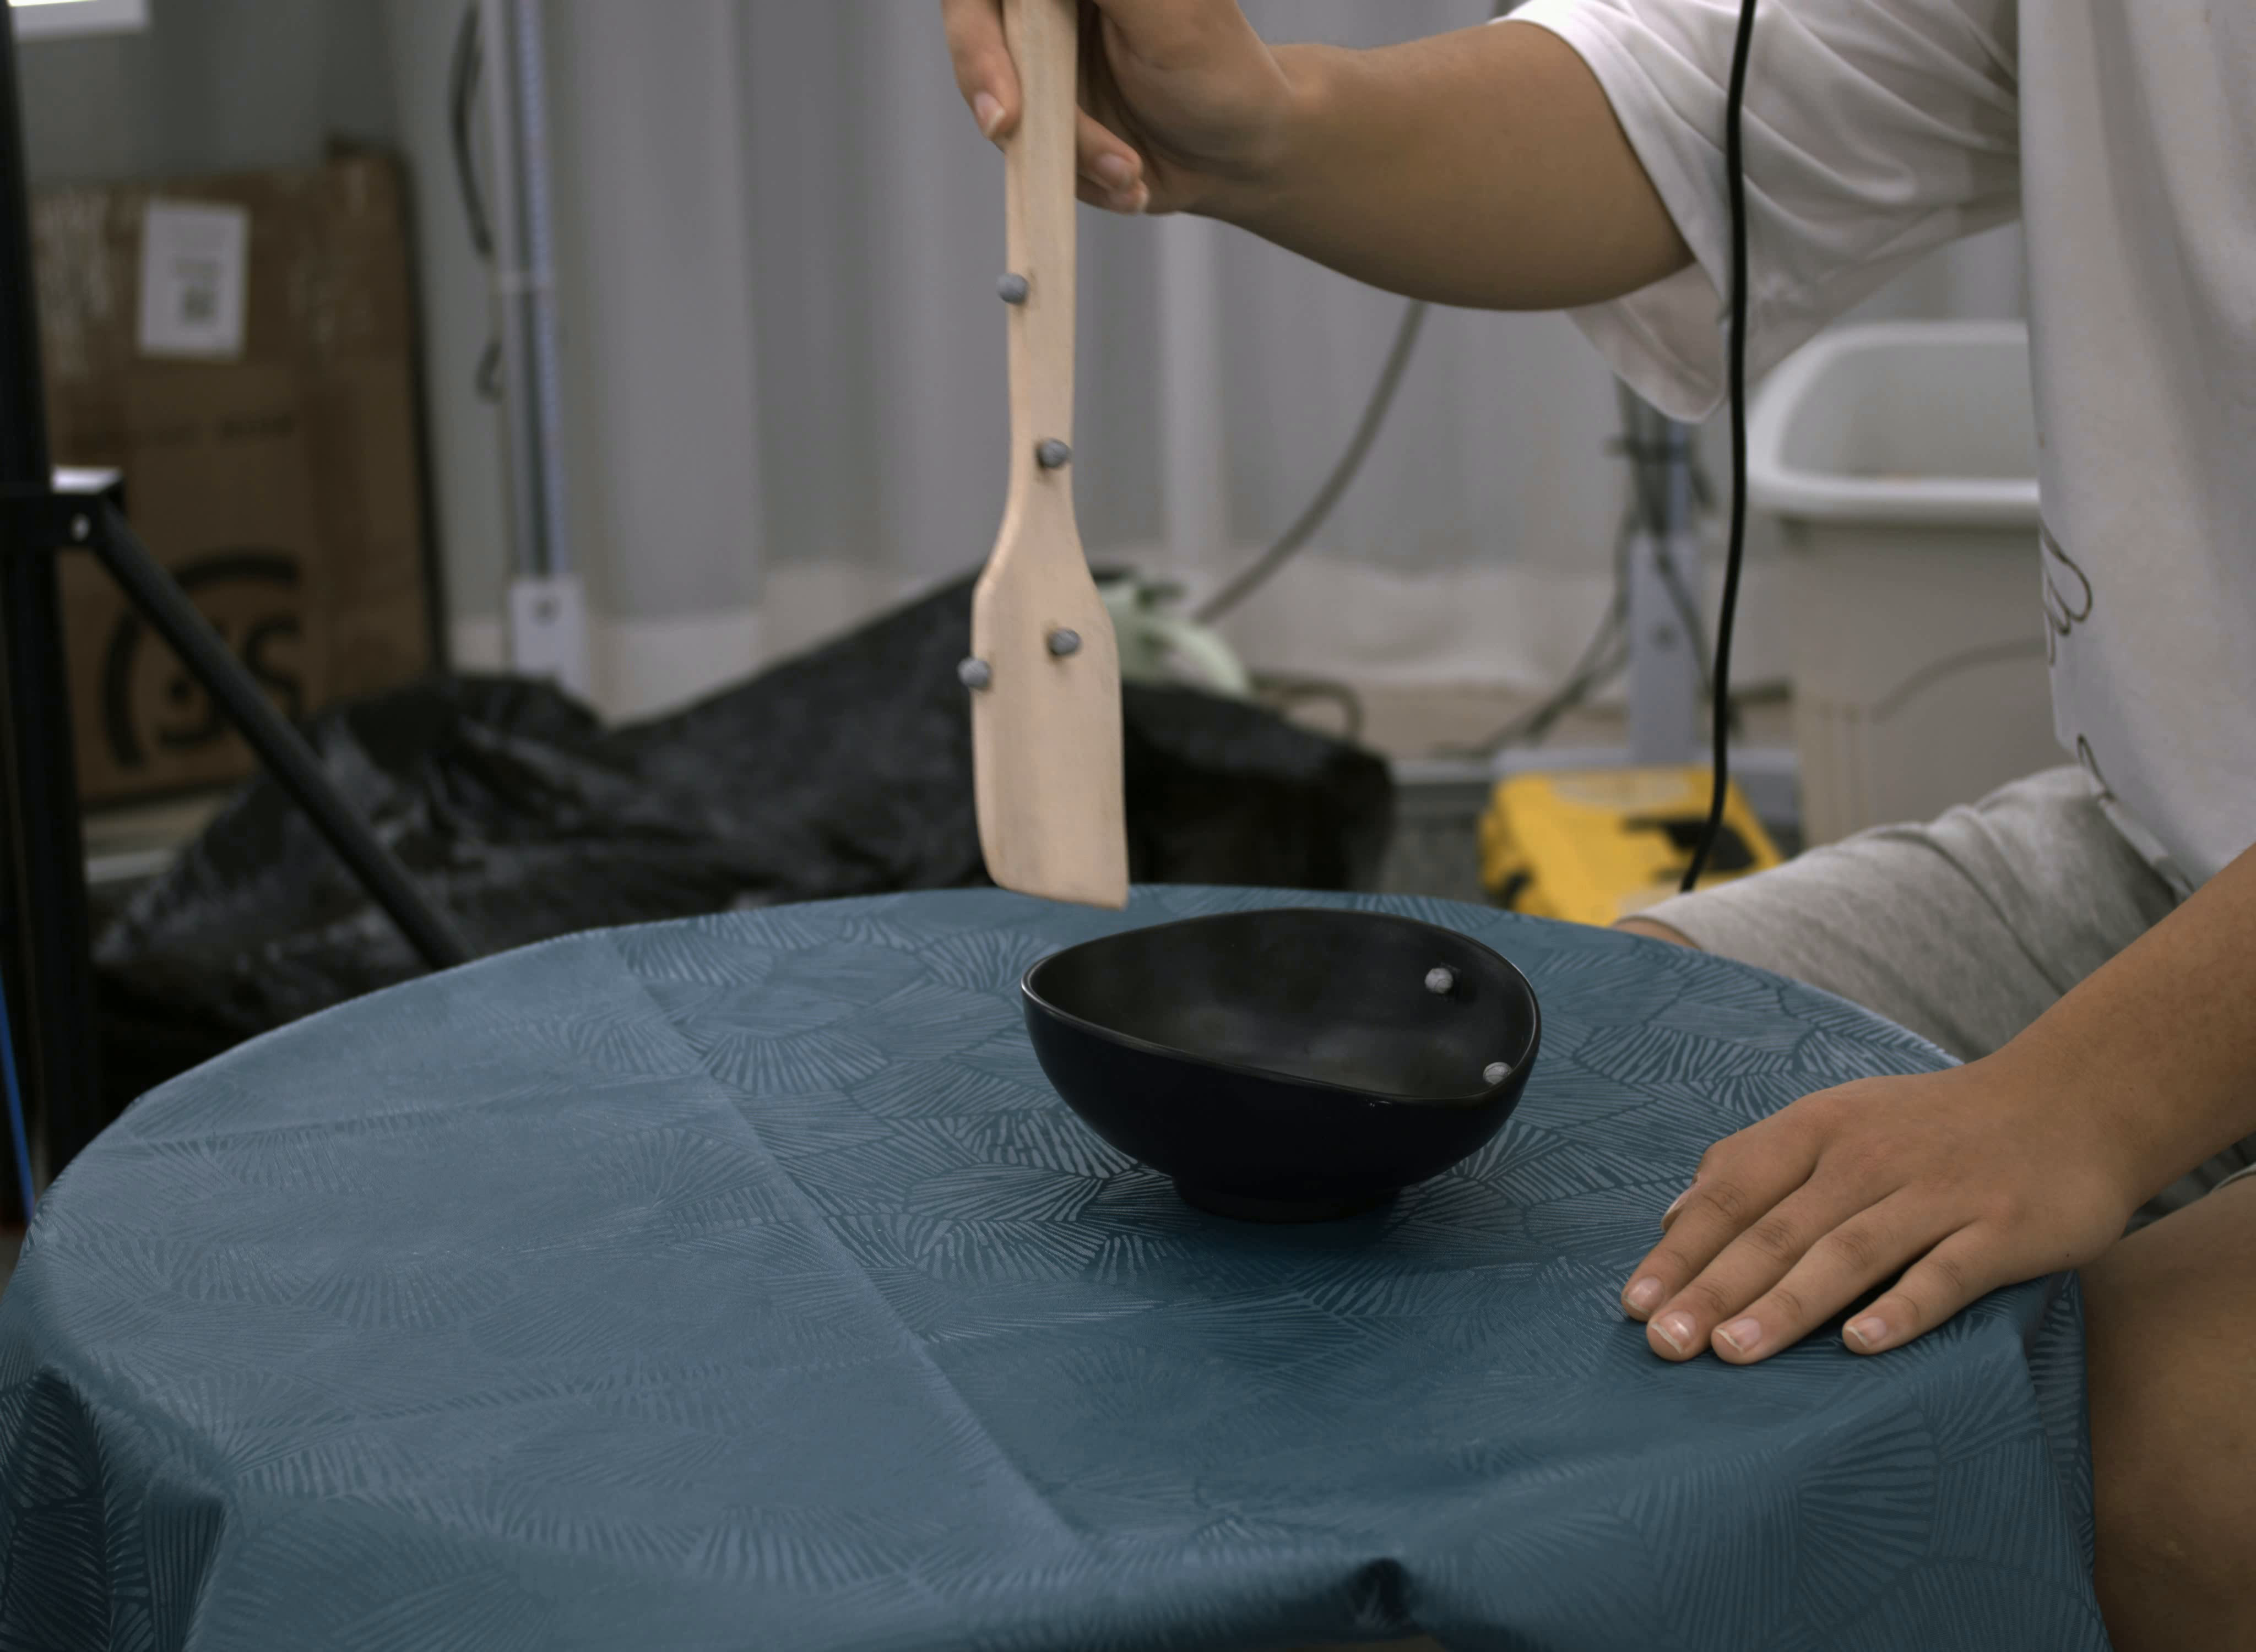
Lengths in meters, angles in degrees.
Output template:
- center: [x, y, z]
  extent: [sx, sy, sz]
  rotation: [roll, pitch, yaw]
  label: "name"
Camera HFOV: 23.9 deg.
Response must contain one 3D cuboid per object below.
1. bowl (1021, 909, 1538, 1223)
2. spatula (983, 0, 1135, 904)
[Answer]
- center: [0.045, 0.075, 1.554]
  extent: [0.134, 0.067, 0.174]
  rotation: [-15, 22, -41]
  label: "bowl"
- center: [-0.021, -0.126, 1.506]
  extent: [0.011, 0.295, 0.070]
  rotation: [-6, -10, 32]
  label: "spatula"
